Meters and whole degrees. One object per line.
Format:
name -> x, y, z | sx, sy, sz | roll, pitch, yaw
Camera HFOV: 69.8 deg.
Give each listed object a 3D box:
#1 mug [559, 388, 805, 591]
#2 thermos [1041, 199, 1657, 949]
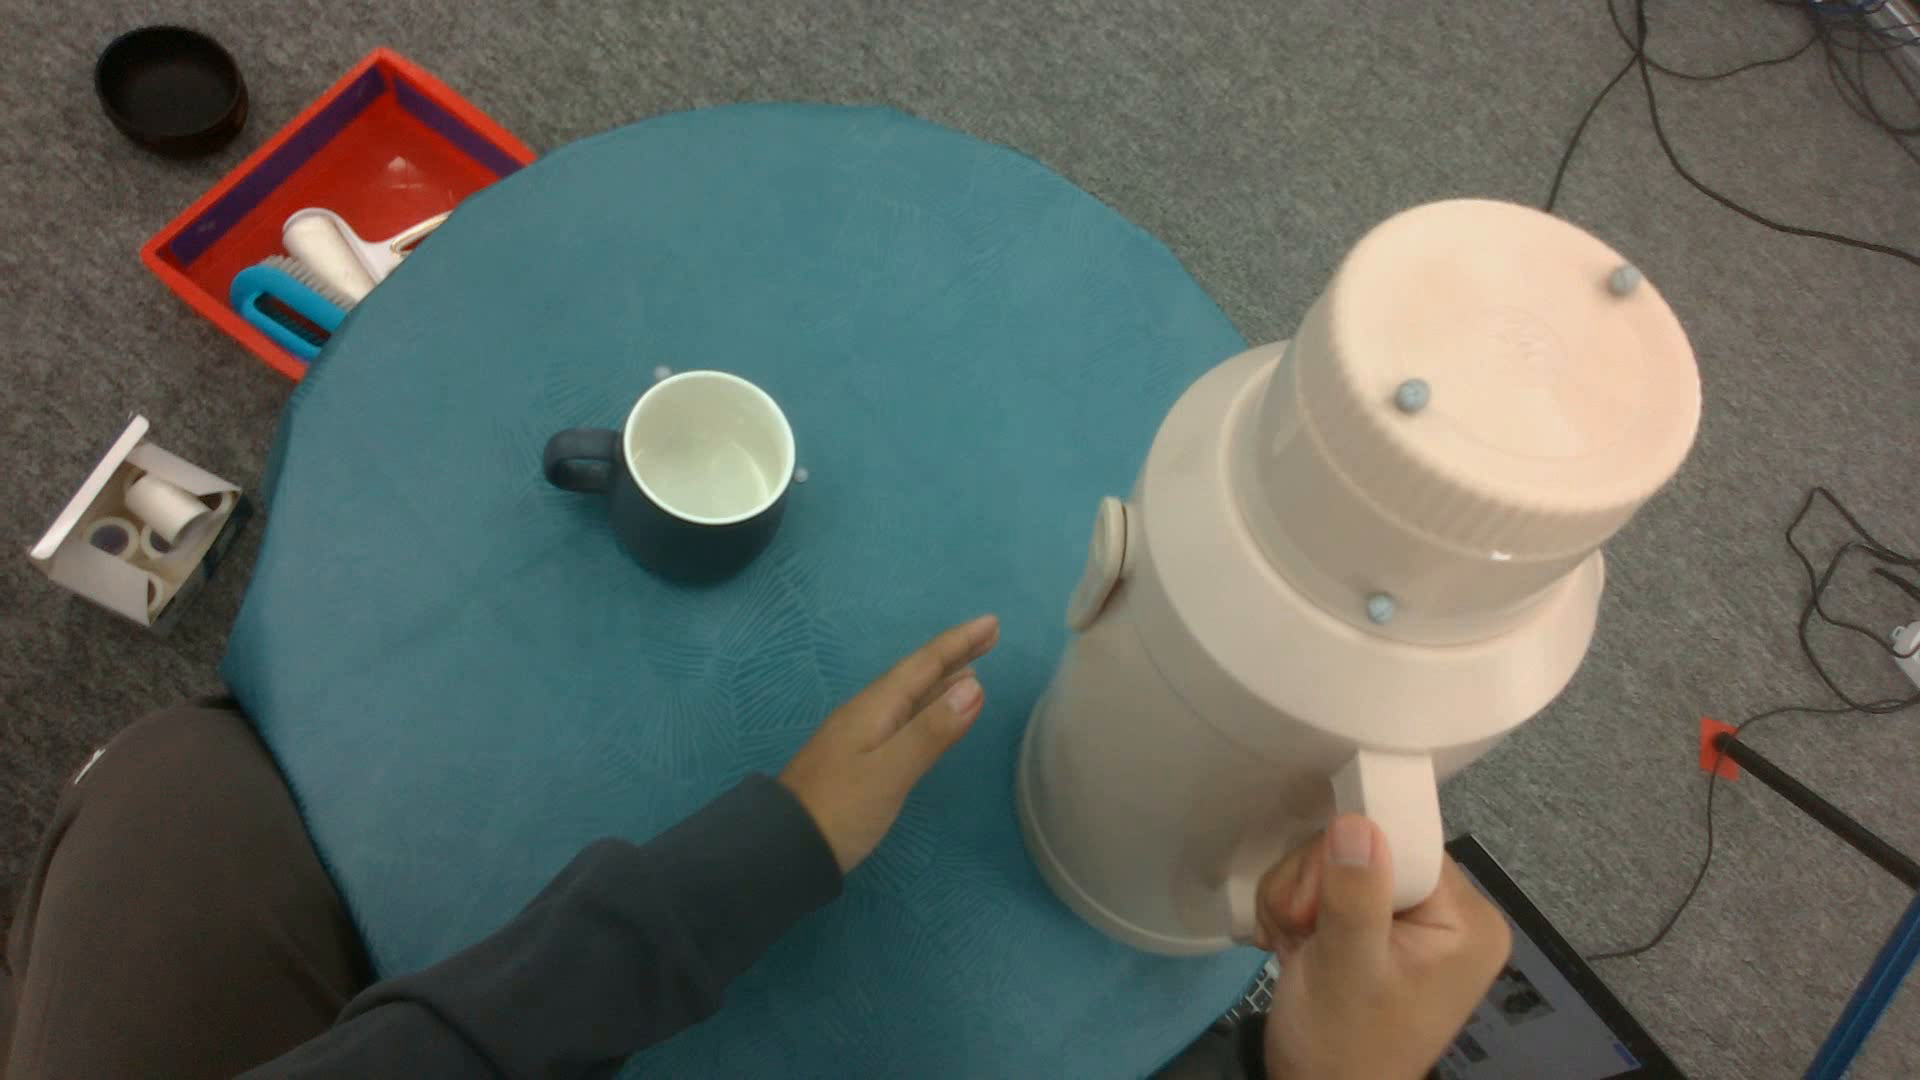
mug -> -0.142, -0.028, 0.706 | 0.123, 0.089, 0.094 | 6, 72, -14
thermos -> 0.131, 0.053, 0.551 | 0.175, 0.404, 0.208 | 1, 60, -4
